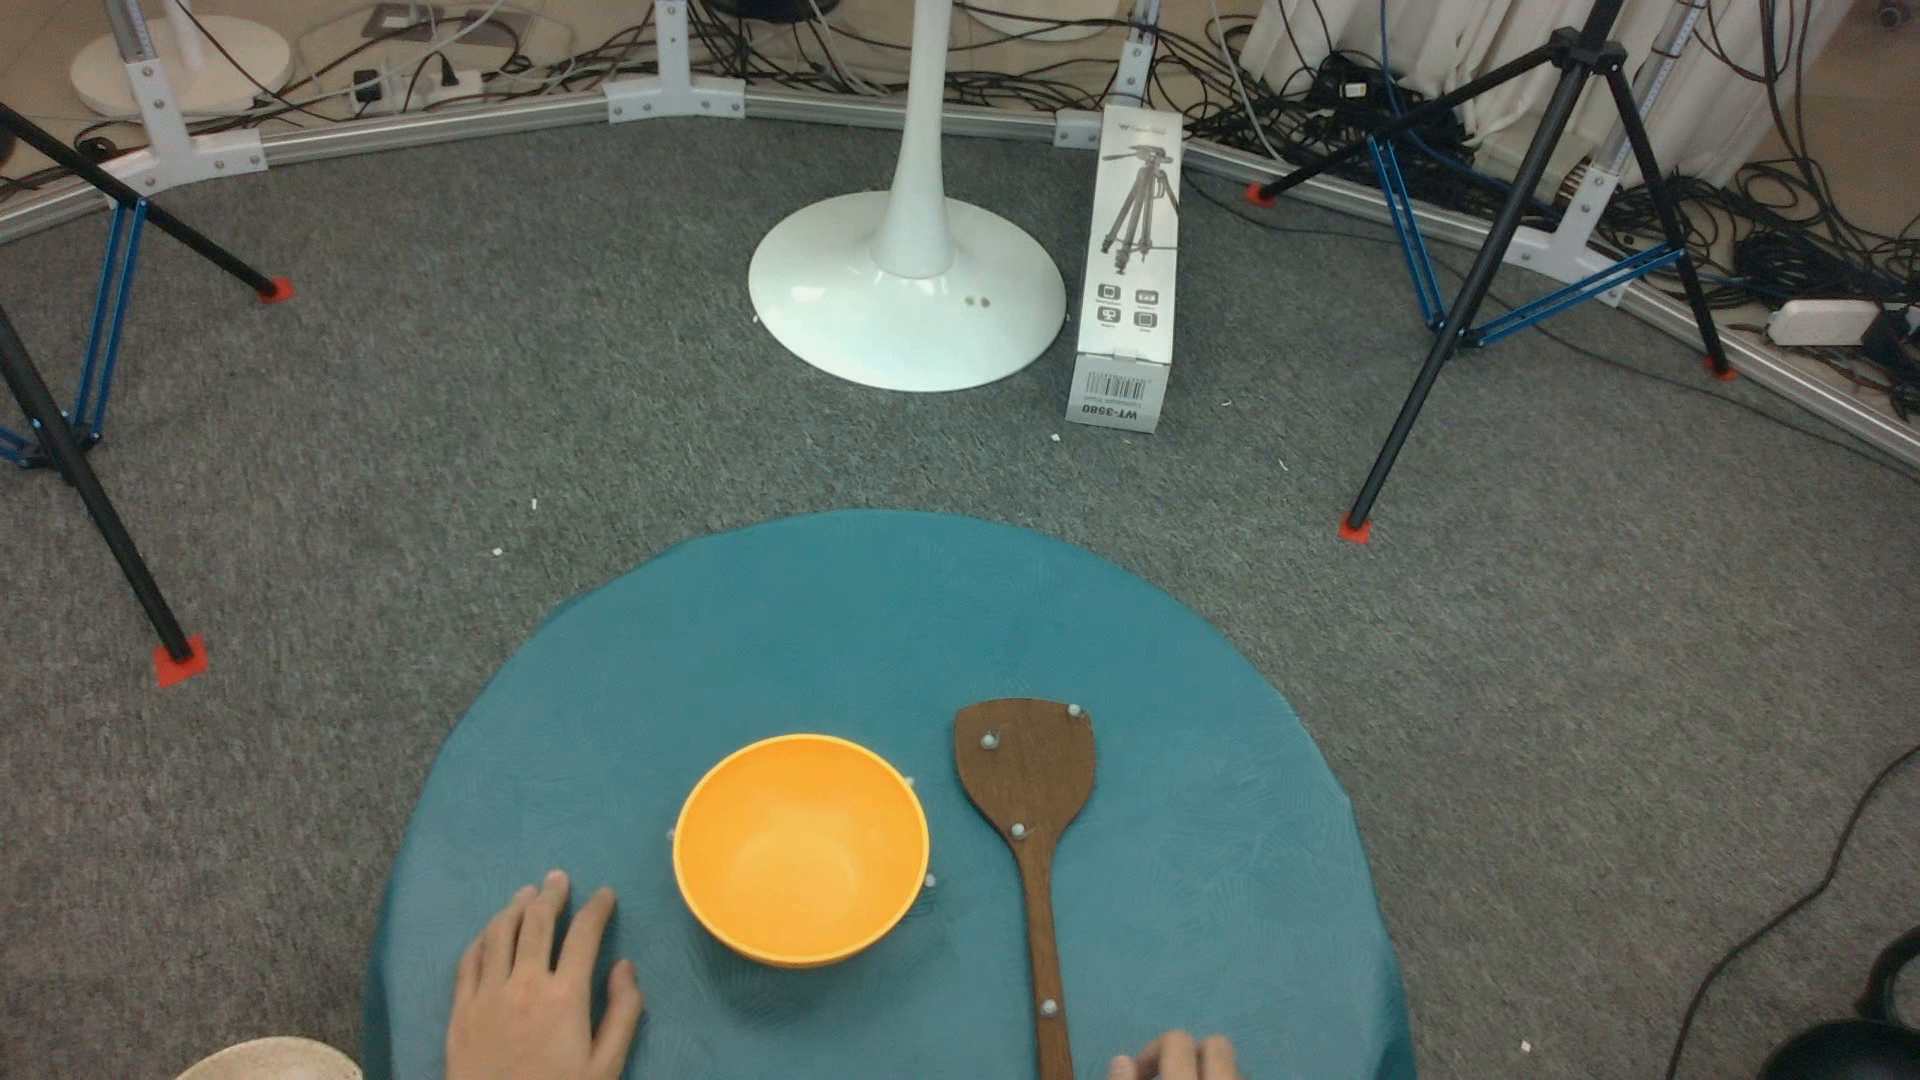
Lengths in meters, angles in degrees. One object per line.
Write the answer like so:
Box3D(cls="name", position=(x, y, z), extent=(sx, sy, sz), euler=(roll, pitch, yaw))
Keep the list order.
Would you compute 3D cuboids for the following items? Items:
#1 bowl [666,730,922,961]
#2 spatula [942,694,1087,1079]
Box3D(cls="bowl", position=(-0.096, 0.187, 0.806), extent=(0.145, 0.060, 0.146), euler=(3, 48, -3))
Box3D(cls="spatula", position=(0.046, 0.251, 0.800), extent=(0.096, 0.015, 0.387), euler=(1, 48, -7))
